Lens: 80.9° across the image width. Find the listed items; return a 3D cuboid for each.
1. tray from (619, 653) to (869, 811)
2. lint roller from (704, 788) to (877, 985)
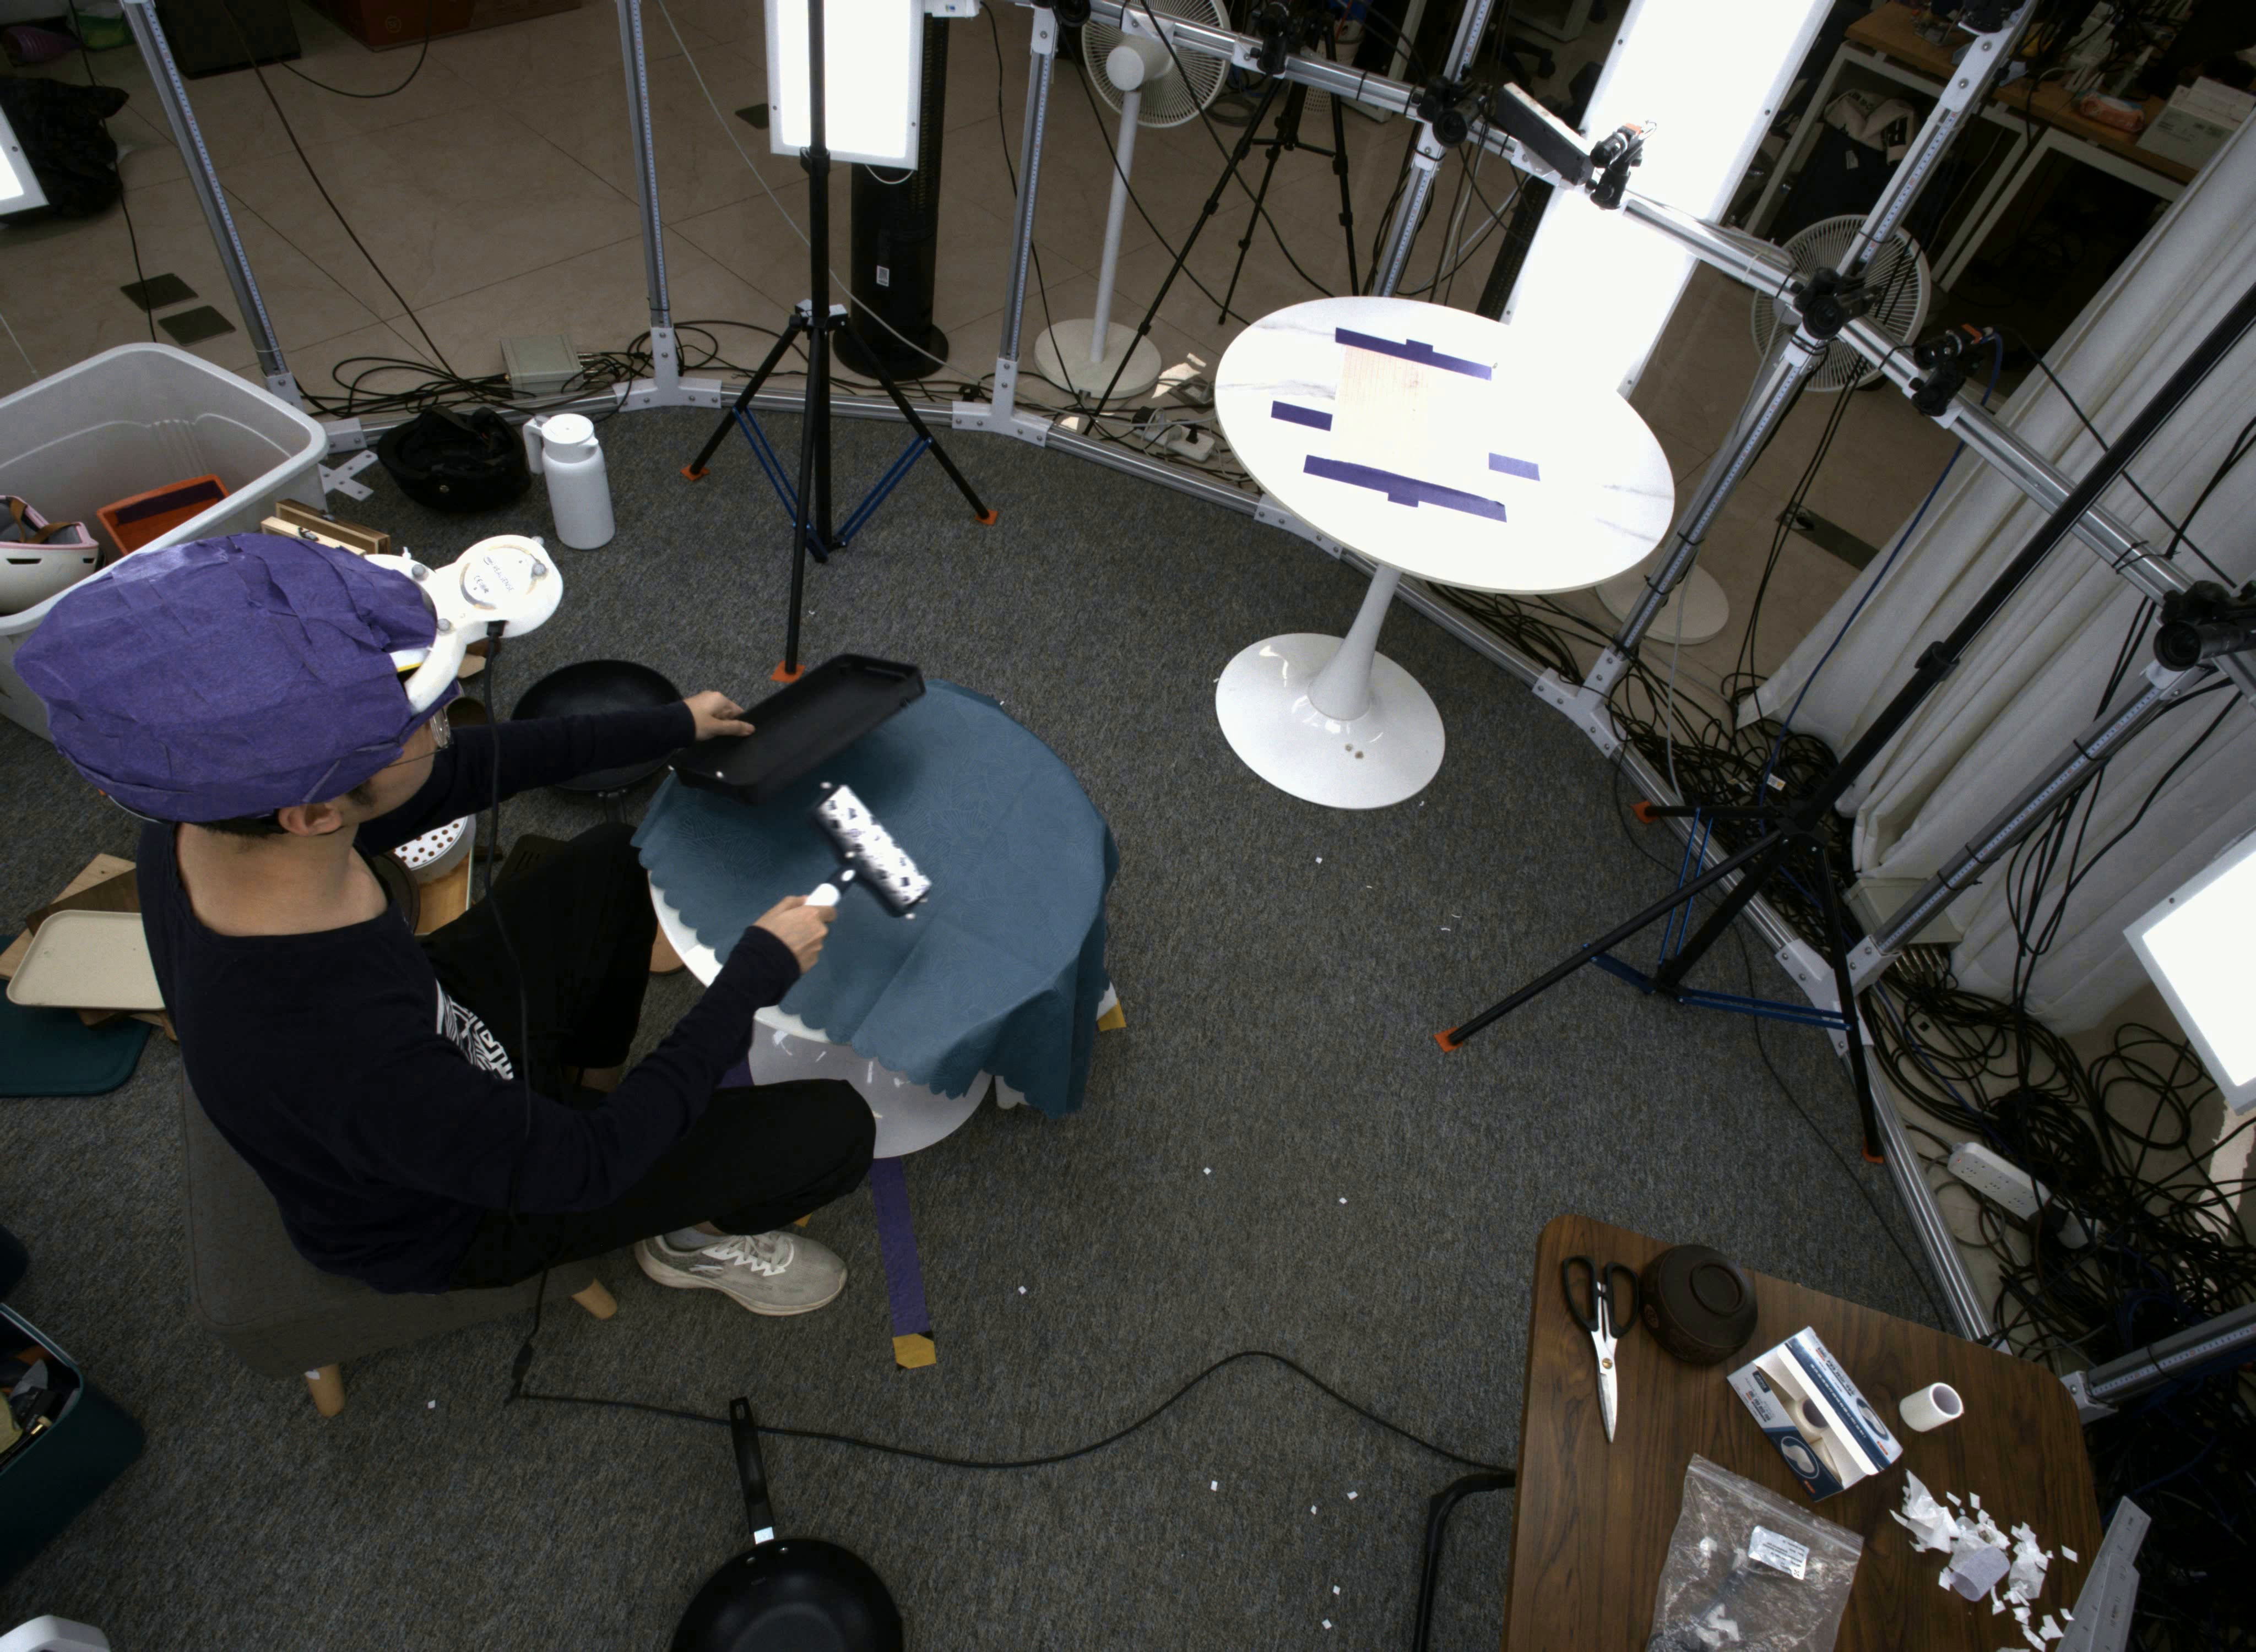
[{"bbox_3d":[-0.499,-0.131,1.687,0.177,0.038,0.318,10,41,37],"label":"tray"},{"bbox_3d":[-0.407,0.089,1.493,0.181,0.049,0.245,50,40,-20],"label":"lint roller"}]
